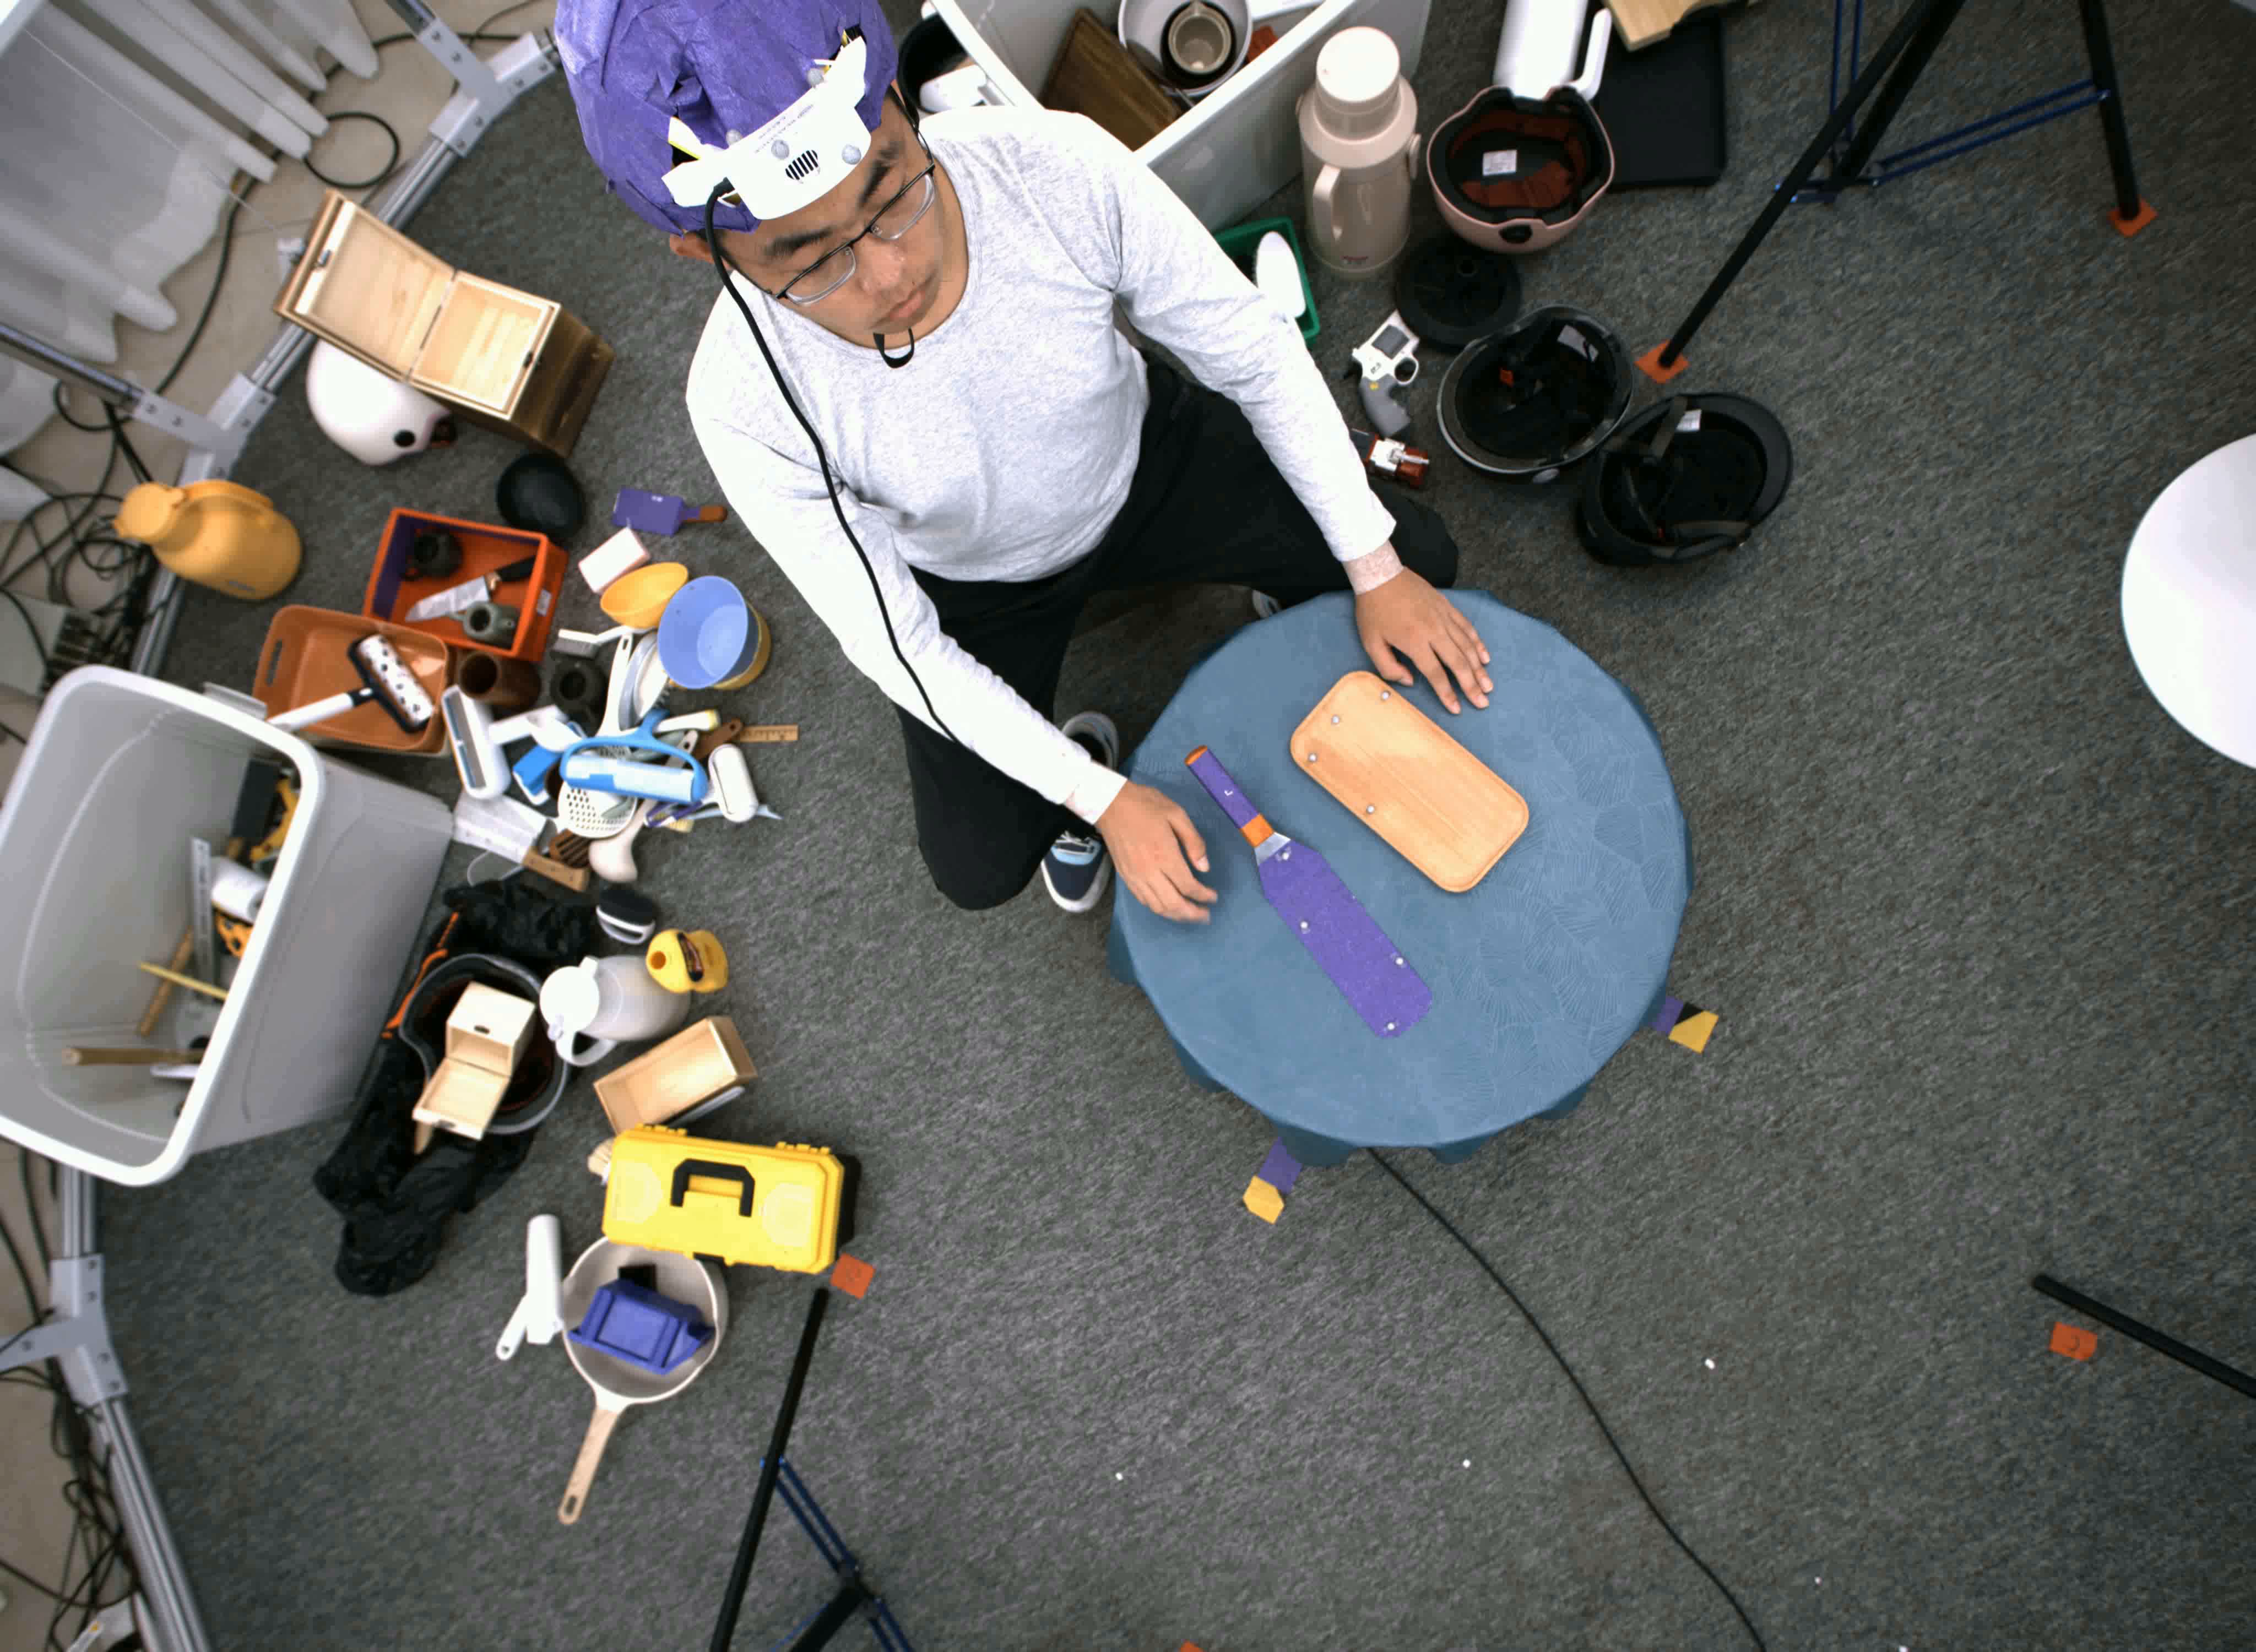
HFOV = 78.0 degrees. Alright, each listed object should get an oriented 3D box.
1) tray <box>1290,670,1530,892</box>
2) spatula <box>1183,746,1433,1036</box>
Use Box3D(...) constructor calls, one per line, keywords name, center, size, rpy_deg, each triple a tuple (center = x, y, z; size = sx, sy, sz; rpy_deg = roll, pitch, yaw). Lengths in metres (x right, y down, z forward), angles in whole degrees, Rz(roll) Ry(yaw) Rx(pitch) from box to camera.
Box3D(name="tray", center=(0.296, -0.050, 1.454), size=(0.249, 0.023, 0.131), rpy_deg=(42, 98, 10))
Box3D(name="spatula", center=(0.183, 0.063, 1.438), size=(0.075, 0.086, 0.362), rpy_deg=(-39, 106, 3))
